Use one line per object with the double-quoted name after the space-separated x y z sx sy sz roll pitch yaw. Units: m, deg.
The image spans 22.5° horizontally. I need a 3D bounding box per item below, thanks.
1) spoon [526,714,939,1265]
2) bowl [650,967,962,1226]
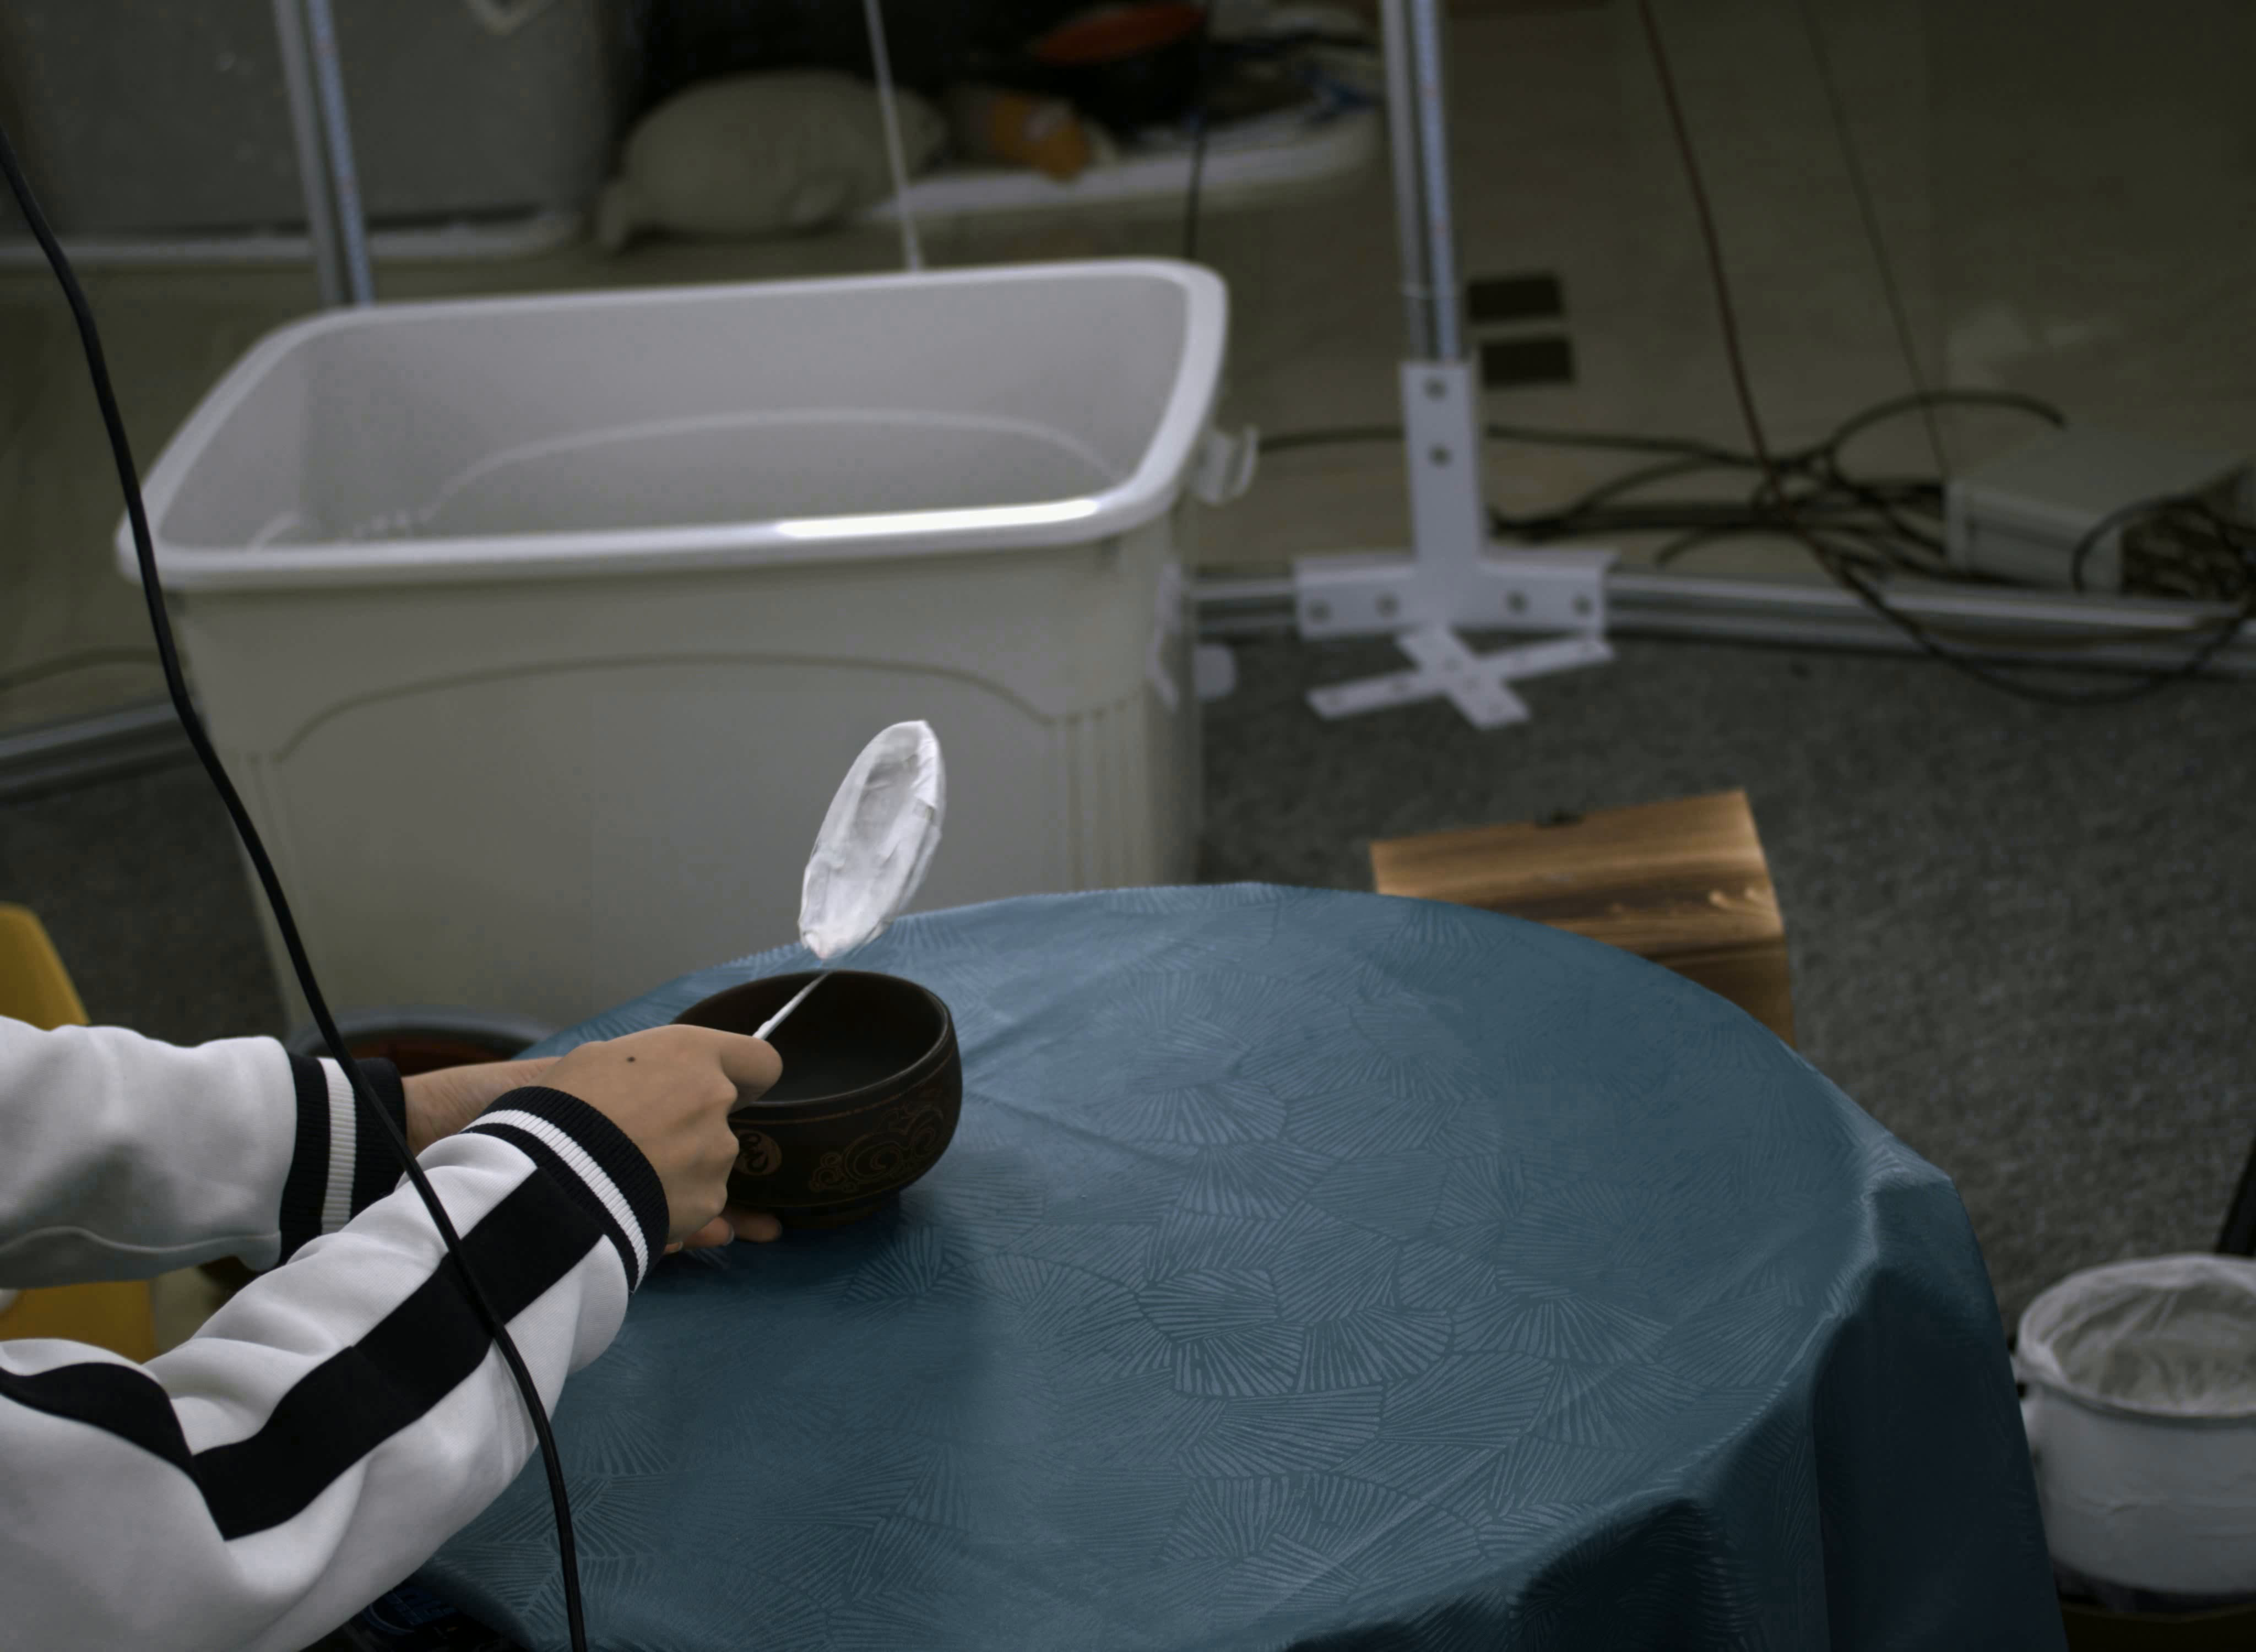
-0.148 0.058 2.010 0.059 0.102 0.274 45 49 0 "spoon"
-0.120 0.109 2.155 0.118 0.071 0.116 -6 25 3 "bowl"
